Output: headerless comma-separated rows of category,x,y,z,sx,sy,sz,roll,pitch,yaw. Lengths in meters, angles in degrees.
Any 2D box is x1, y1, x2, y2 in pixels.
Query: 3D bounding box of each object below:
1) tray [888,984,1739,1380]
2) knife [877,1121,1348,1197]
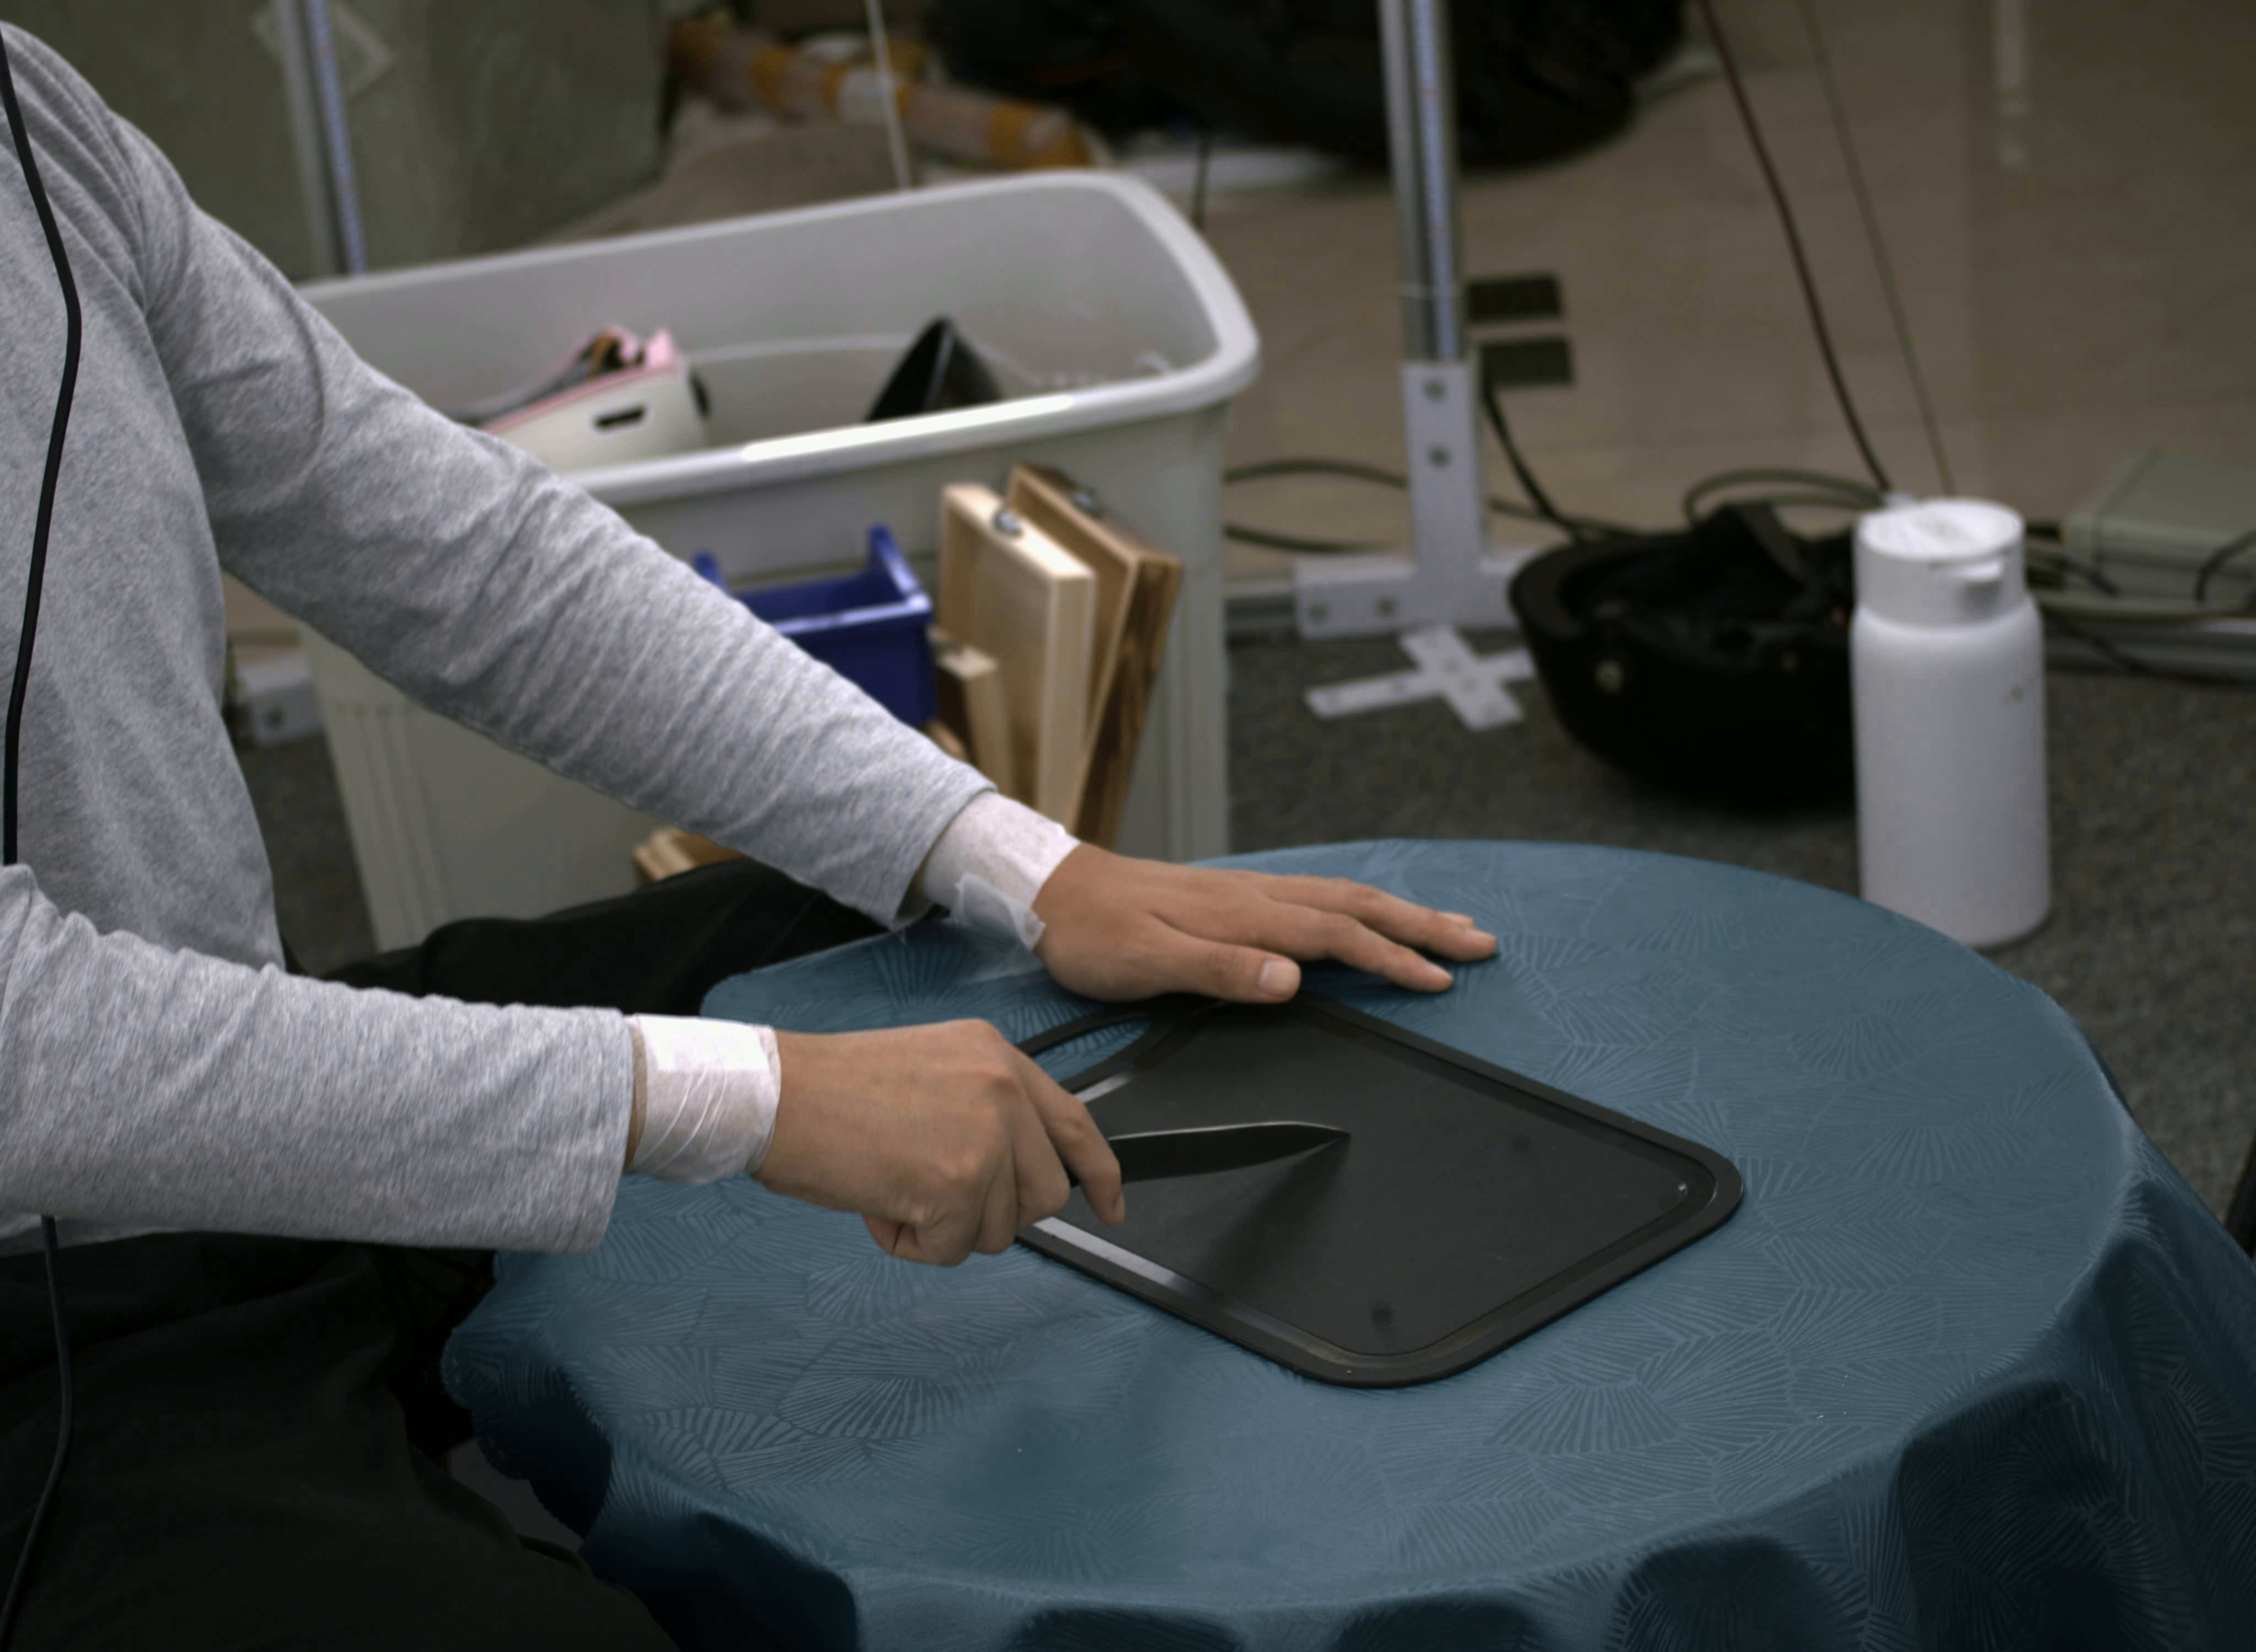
tray,0.060,0.127,2.155,0.209,0.010,0.322,-25,30,-34
knife,0.000,0.120,2.088,0.238,0.025,0.016,-1,29,-44
